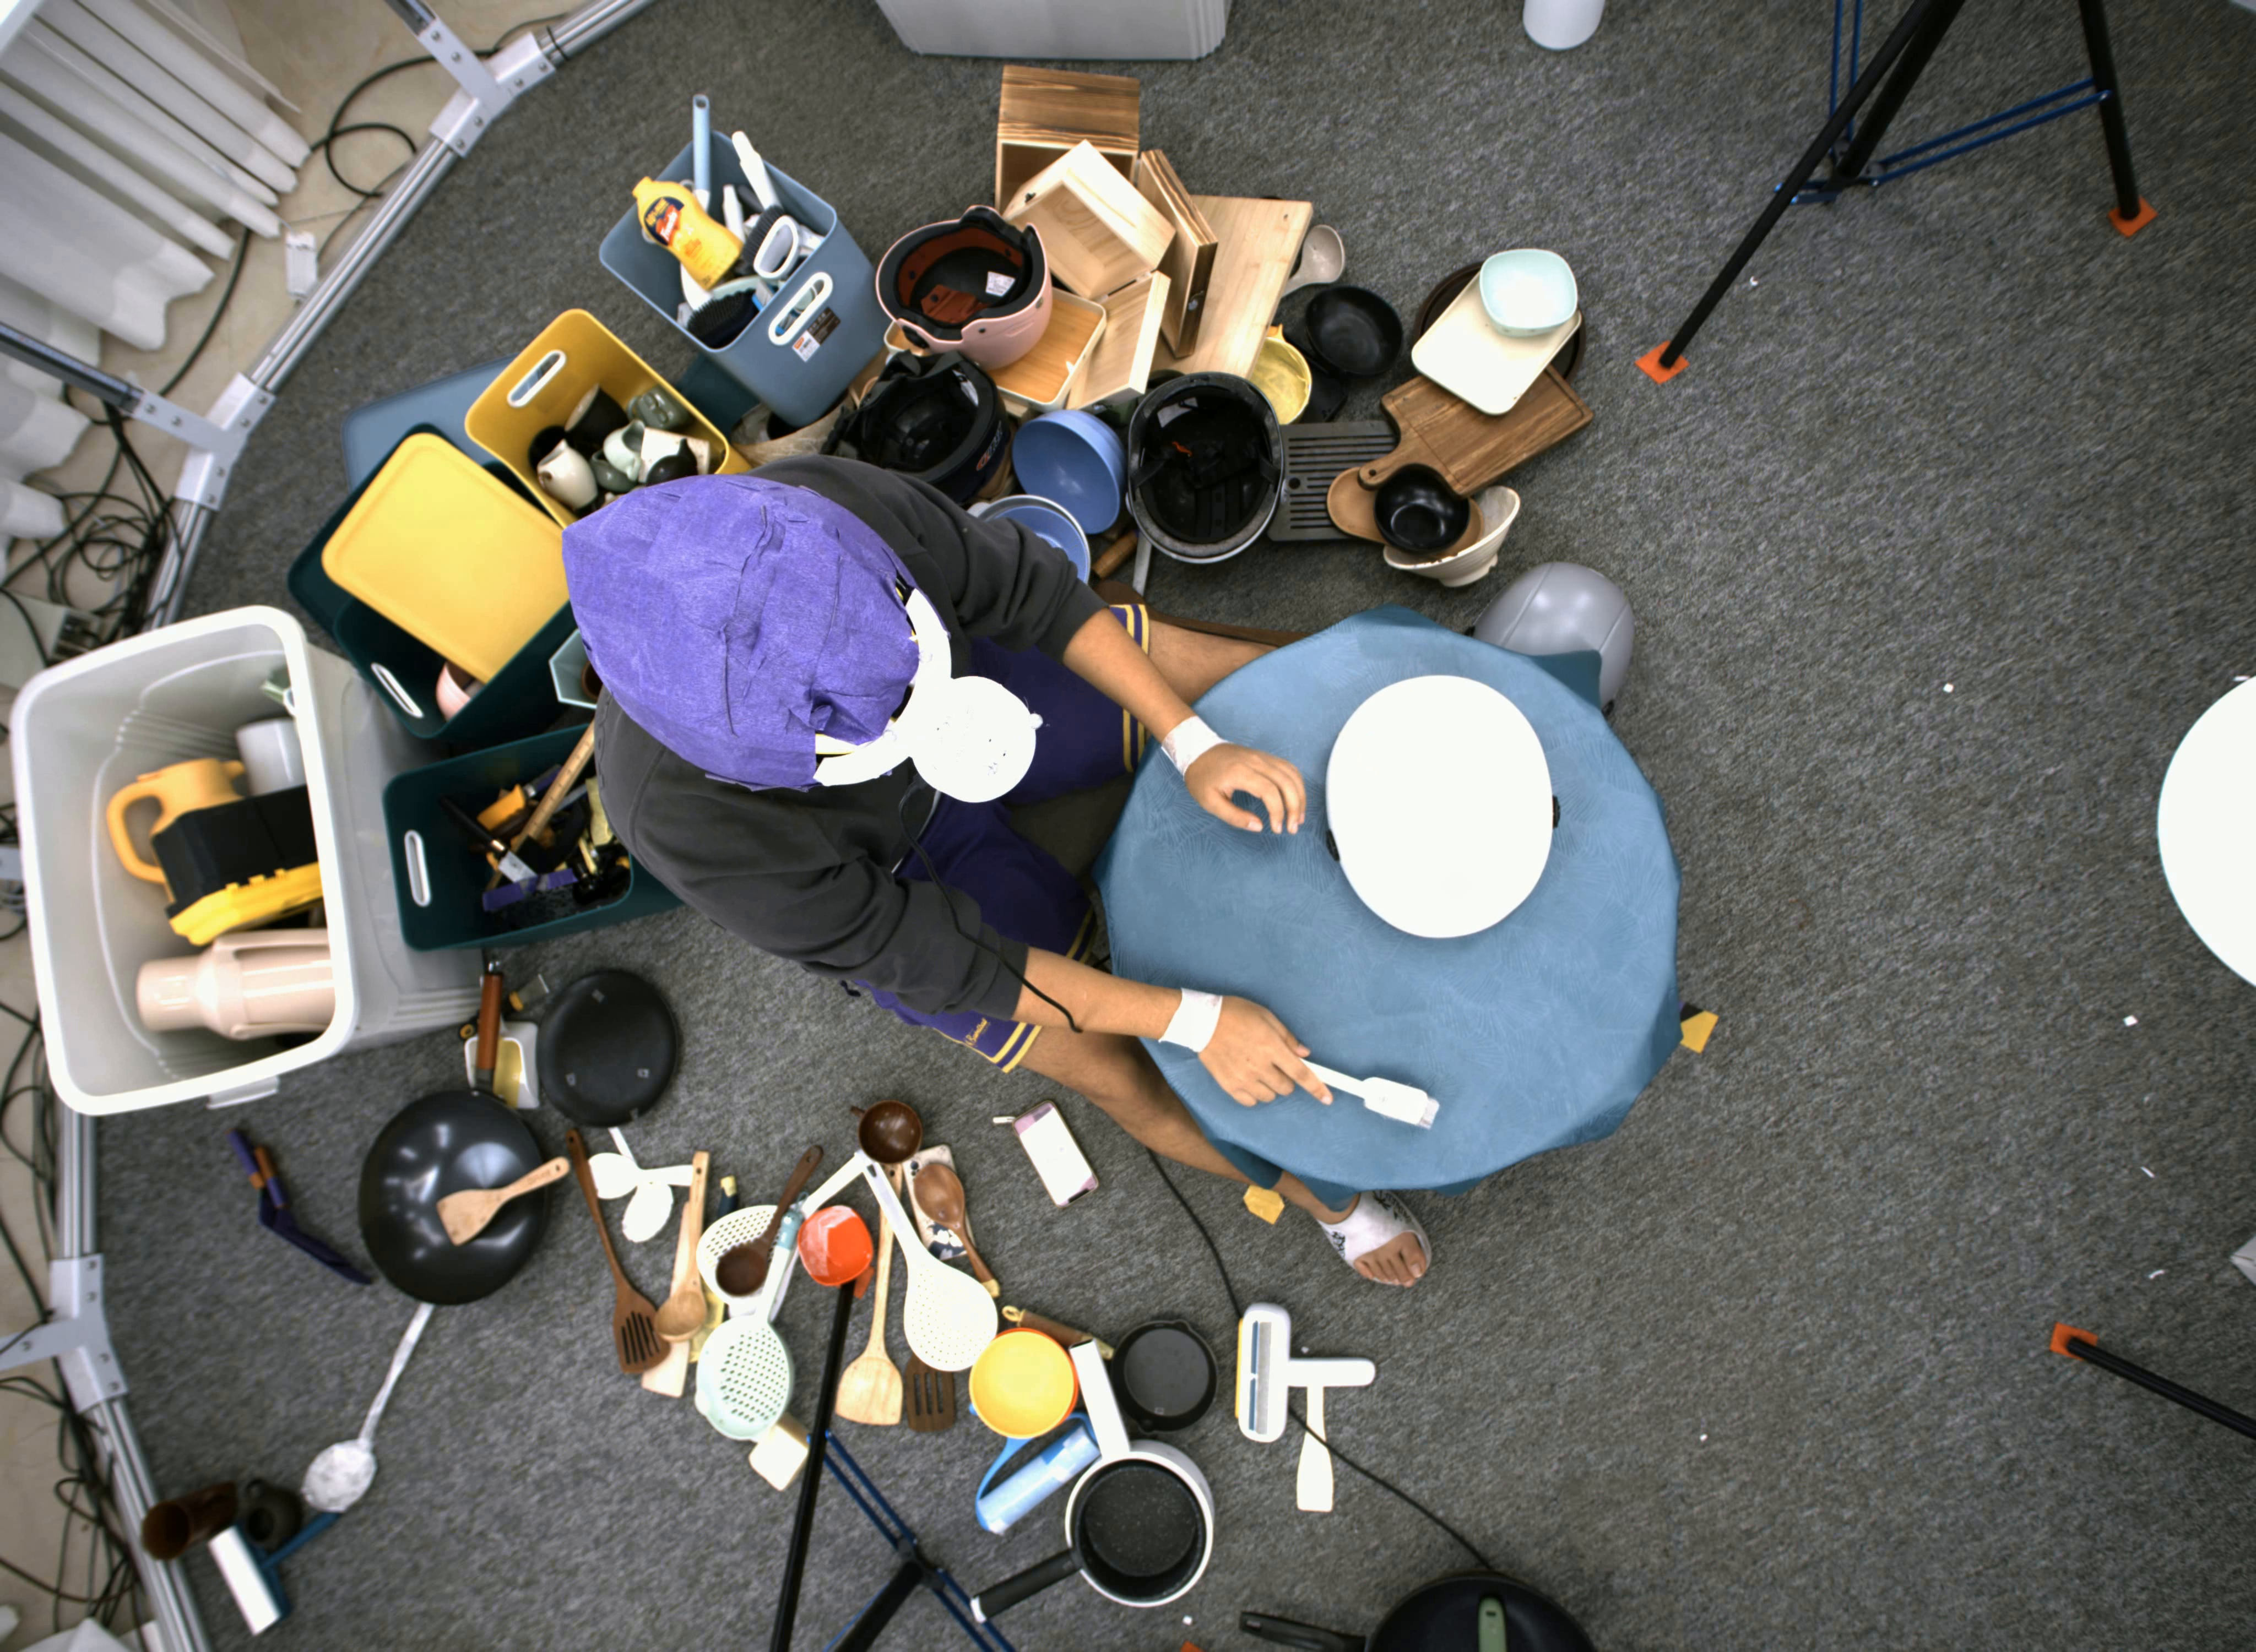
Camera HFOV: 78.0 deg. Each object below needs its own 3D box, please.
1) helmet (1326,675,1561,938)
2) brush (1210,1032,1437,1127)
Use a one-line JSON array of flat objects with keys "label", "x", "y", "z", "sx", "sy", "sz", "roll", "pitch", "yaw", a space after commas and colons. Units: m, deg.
[{"label": "helmet", "x": 0.314, "y": -0.026, "z": 1.374, "sx": 0.238, "sy": 0.167, "sz": 0.267, "roll": -7, "pitch": 85, "yaw": 9}, {"label": "brush", "x": 0.201, "y": 0.261, "z": 1.448, "sx": 0.244, "sy": 0.051, "sz": 0.034, "roll": 14, "pitch": 74, "yaw": 24}]
